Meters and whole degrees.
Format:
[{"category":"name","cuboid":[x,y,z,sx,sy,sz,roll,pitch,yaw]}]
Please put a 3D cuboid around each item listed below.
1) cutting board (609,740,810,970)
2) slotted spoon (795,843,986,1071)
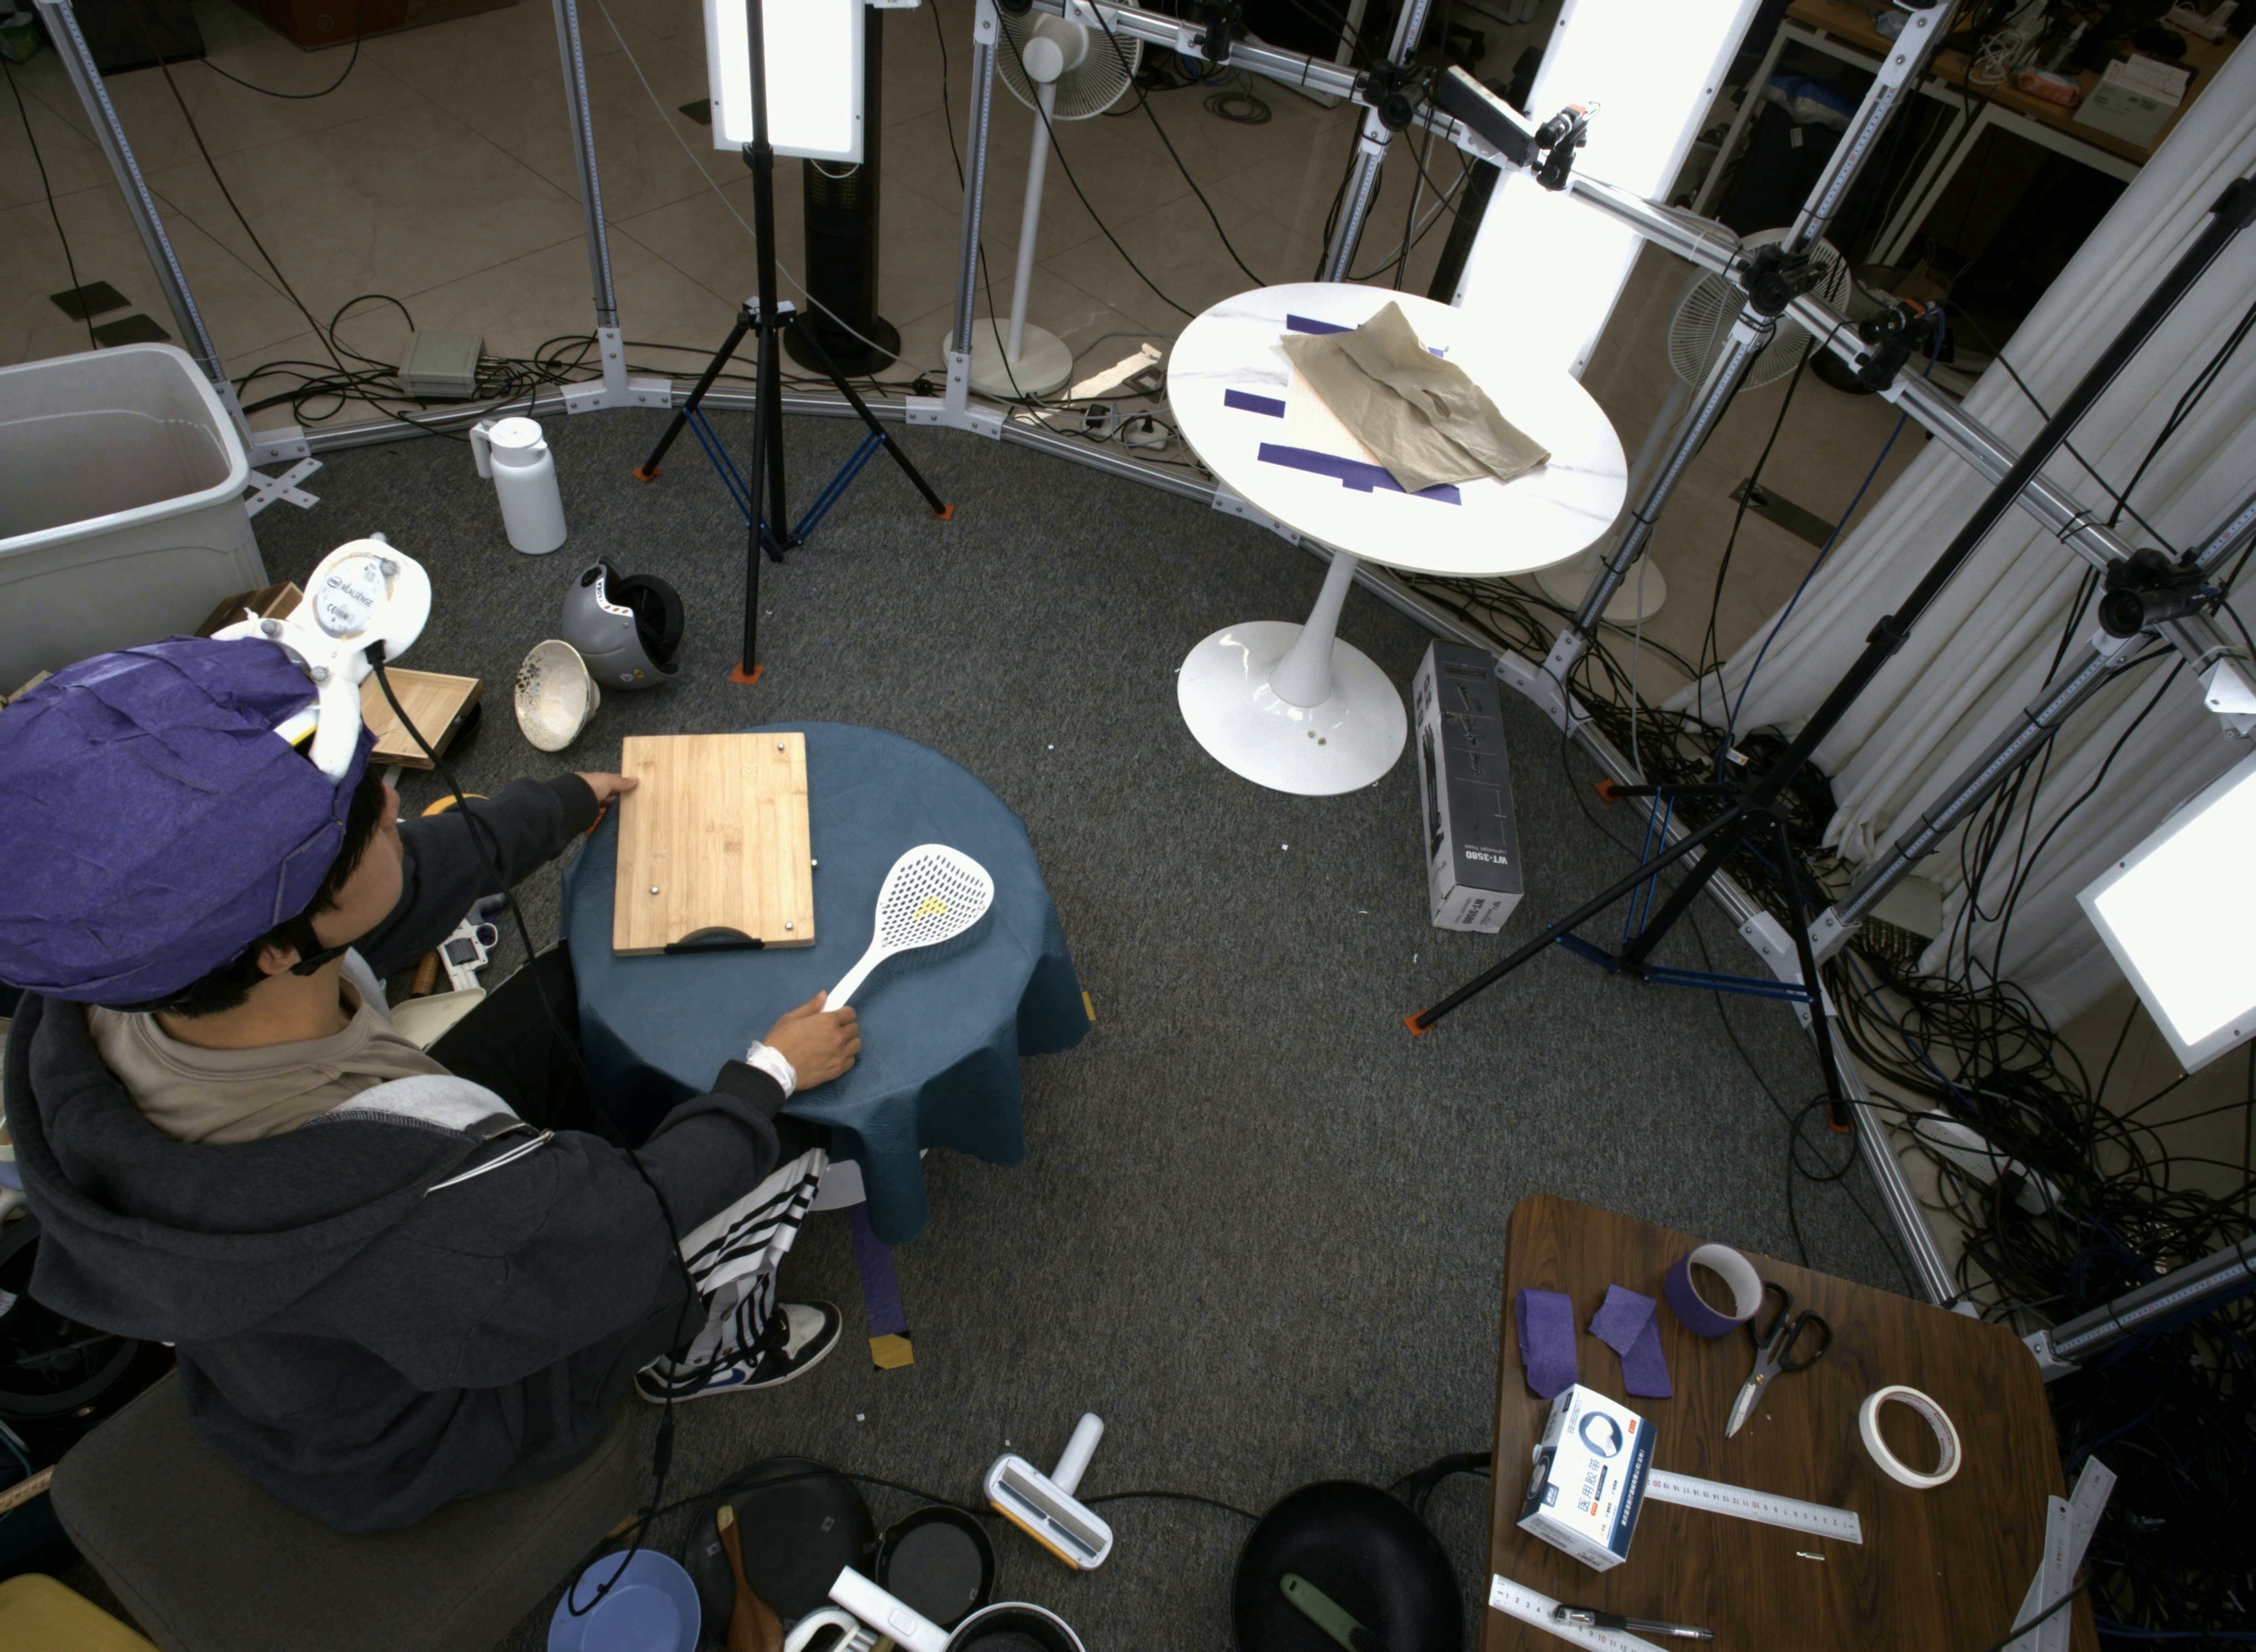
[{"category":"cutting board","cuboid":[-0.543,0.024,1.670,0.251,0.024,0.341,-3,55,-17]},{"category":"slotted spoon","cuboid":[-0.307,0.157,1.610,0.135,0.051,0.346,31,50,8]}]
